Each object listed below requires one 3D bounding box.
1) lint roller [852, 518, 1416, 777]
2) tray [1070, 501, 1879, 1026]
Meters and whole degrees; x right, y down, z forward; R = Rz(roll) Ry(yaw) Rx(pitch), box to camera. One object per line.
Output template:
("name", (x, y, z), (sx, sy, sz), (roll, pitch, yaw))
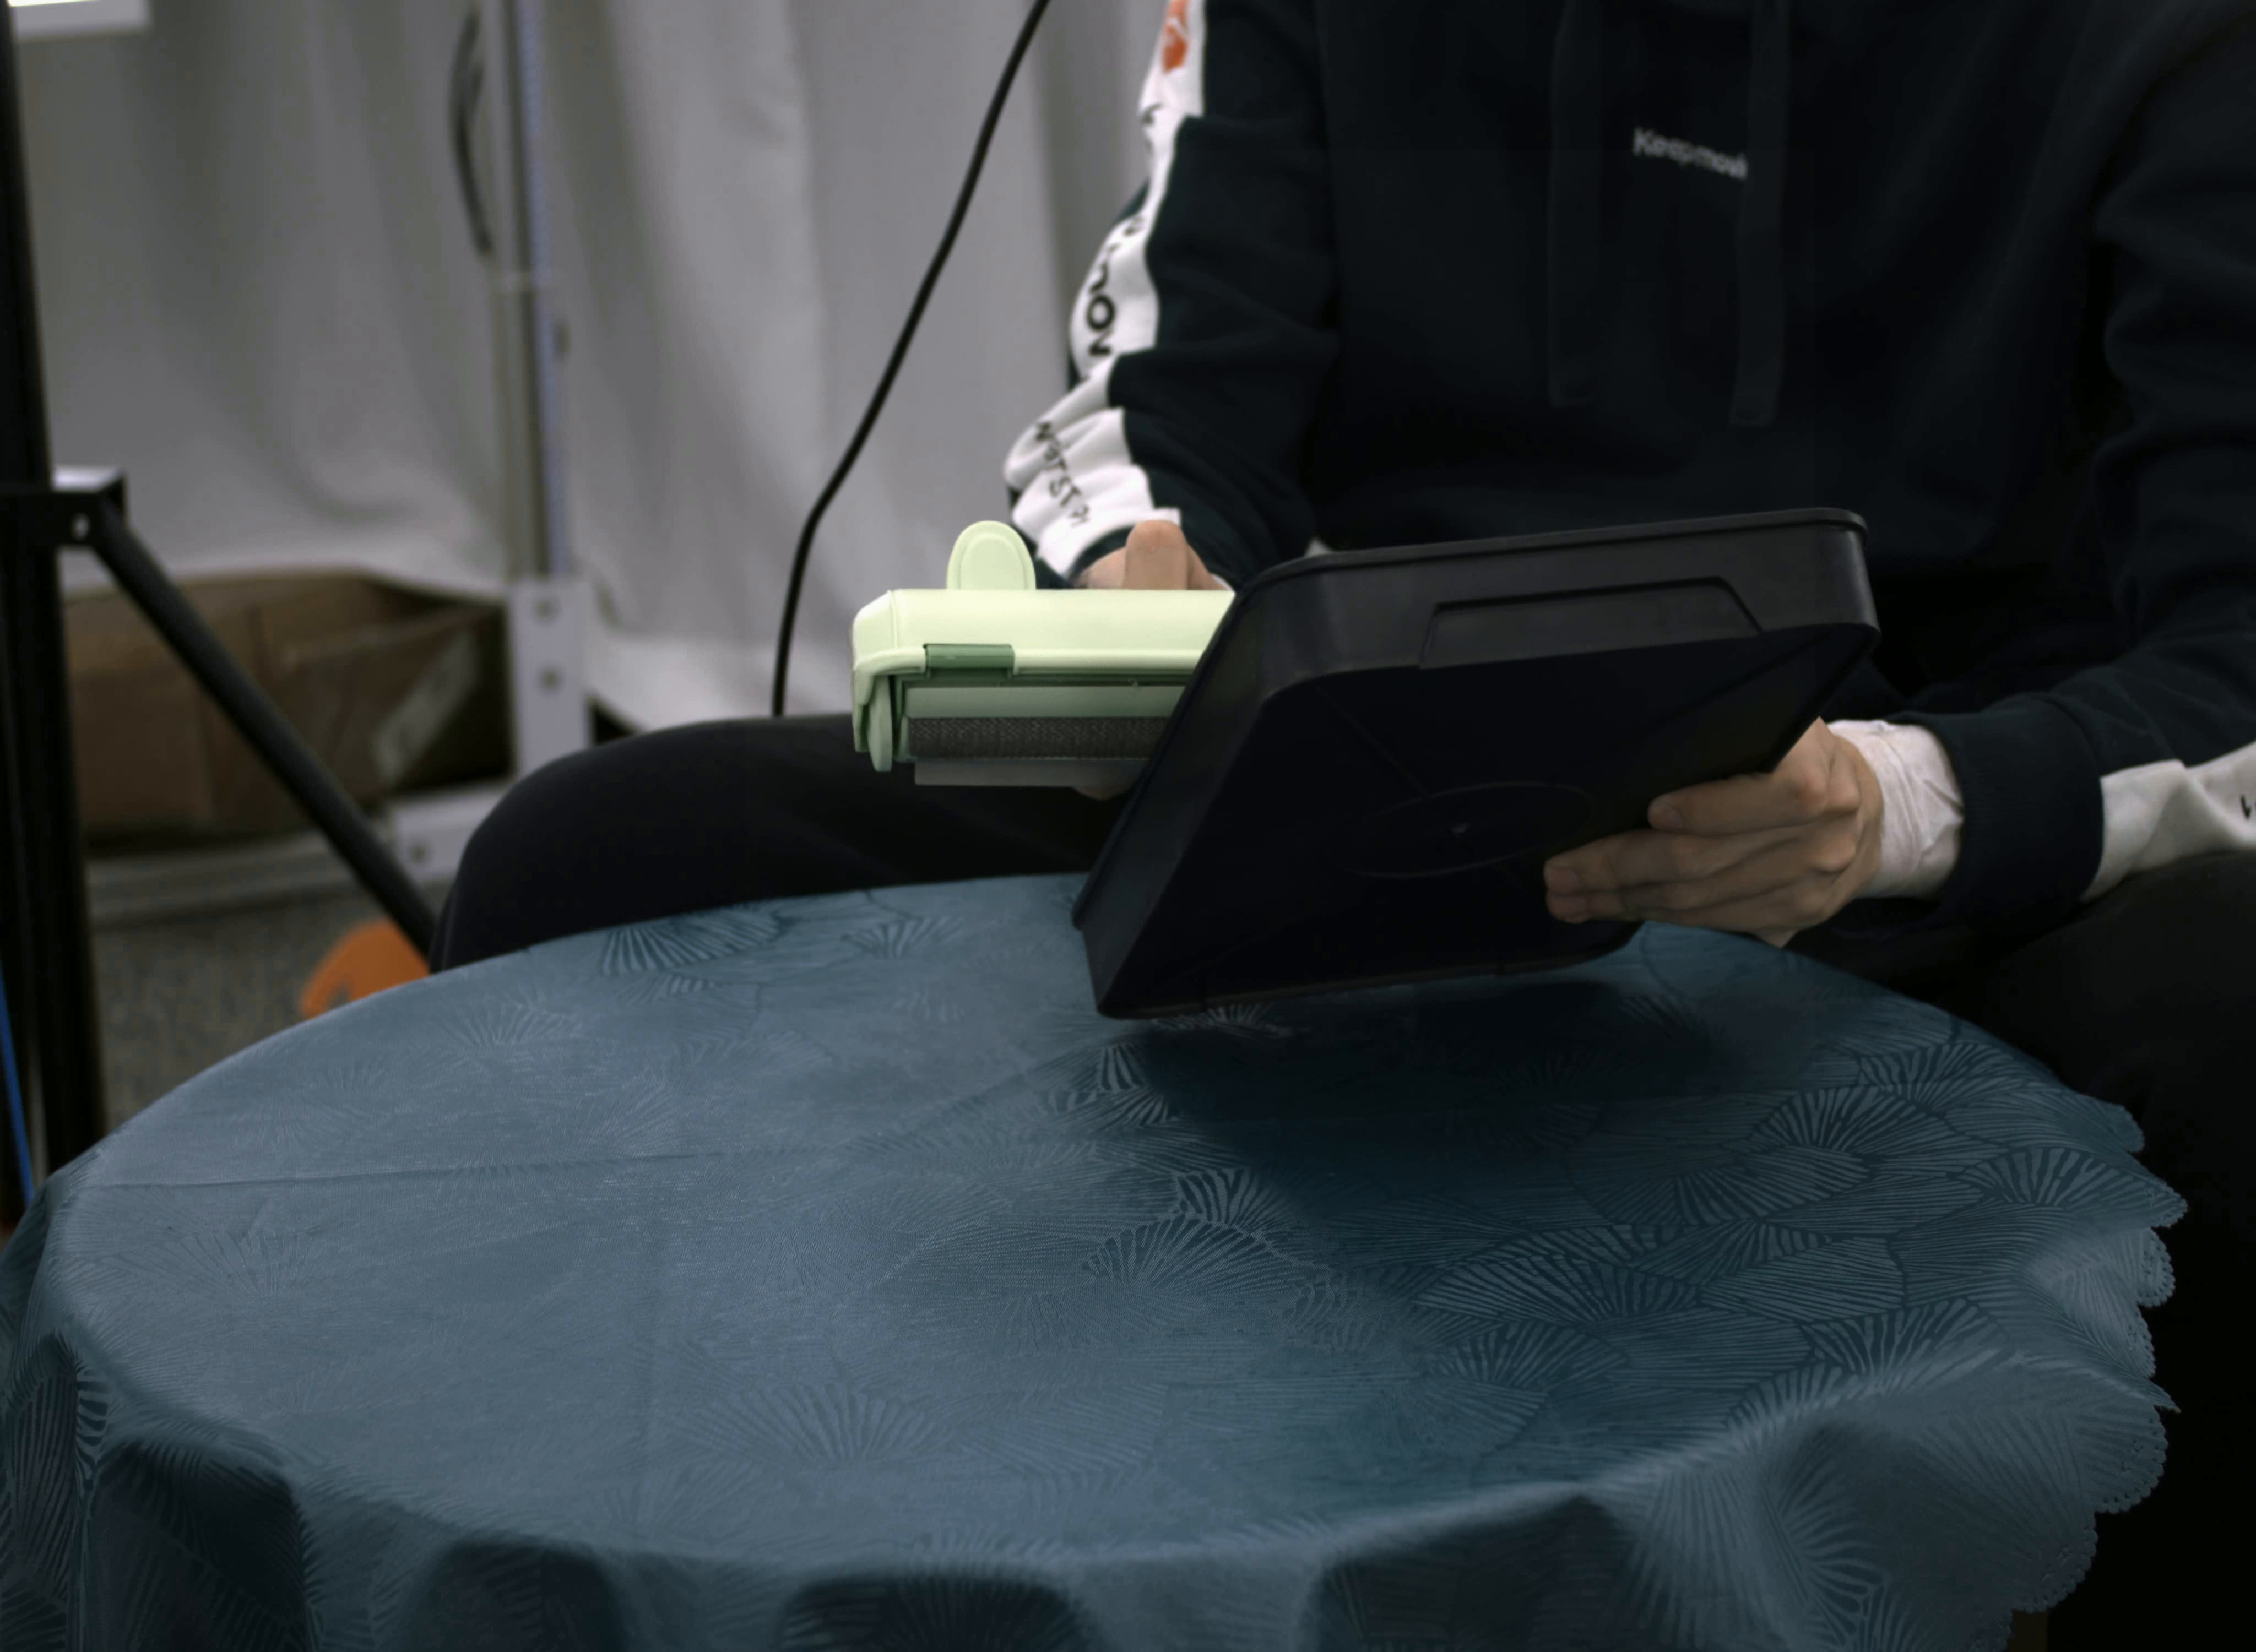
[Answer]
("lint roller", (0.010, -0.056, 1.631), (0.197, 0.082, 0.184), (-1, 8, -6))
("tray", (0.096, -0.012, 1.580), (0.182, 0.037, 0.318), (-6, -19, -11))
